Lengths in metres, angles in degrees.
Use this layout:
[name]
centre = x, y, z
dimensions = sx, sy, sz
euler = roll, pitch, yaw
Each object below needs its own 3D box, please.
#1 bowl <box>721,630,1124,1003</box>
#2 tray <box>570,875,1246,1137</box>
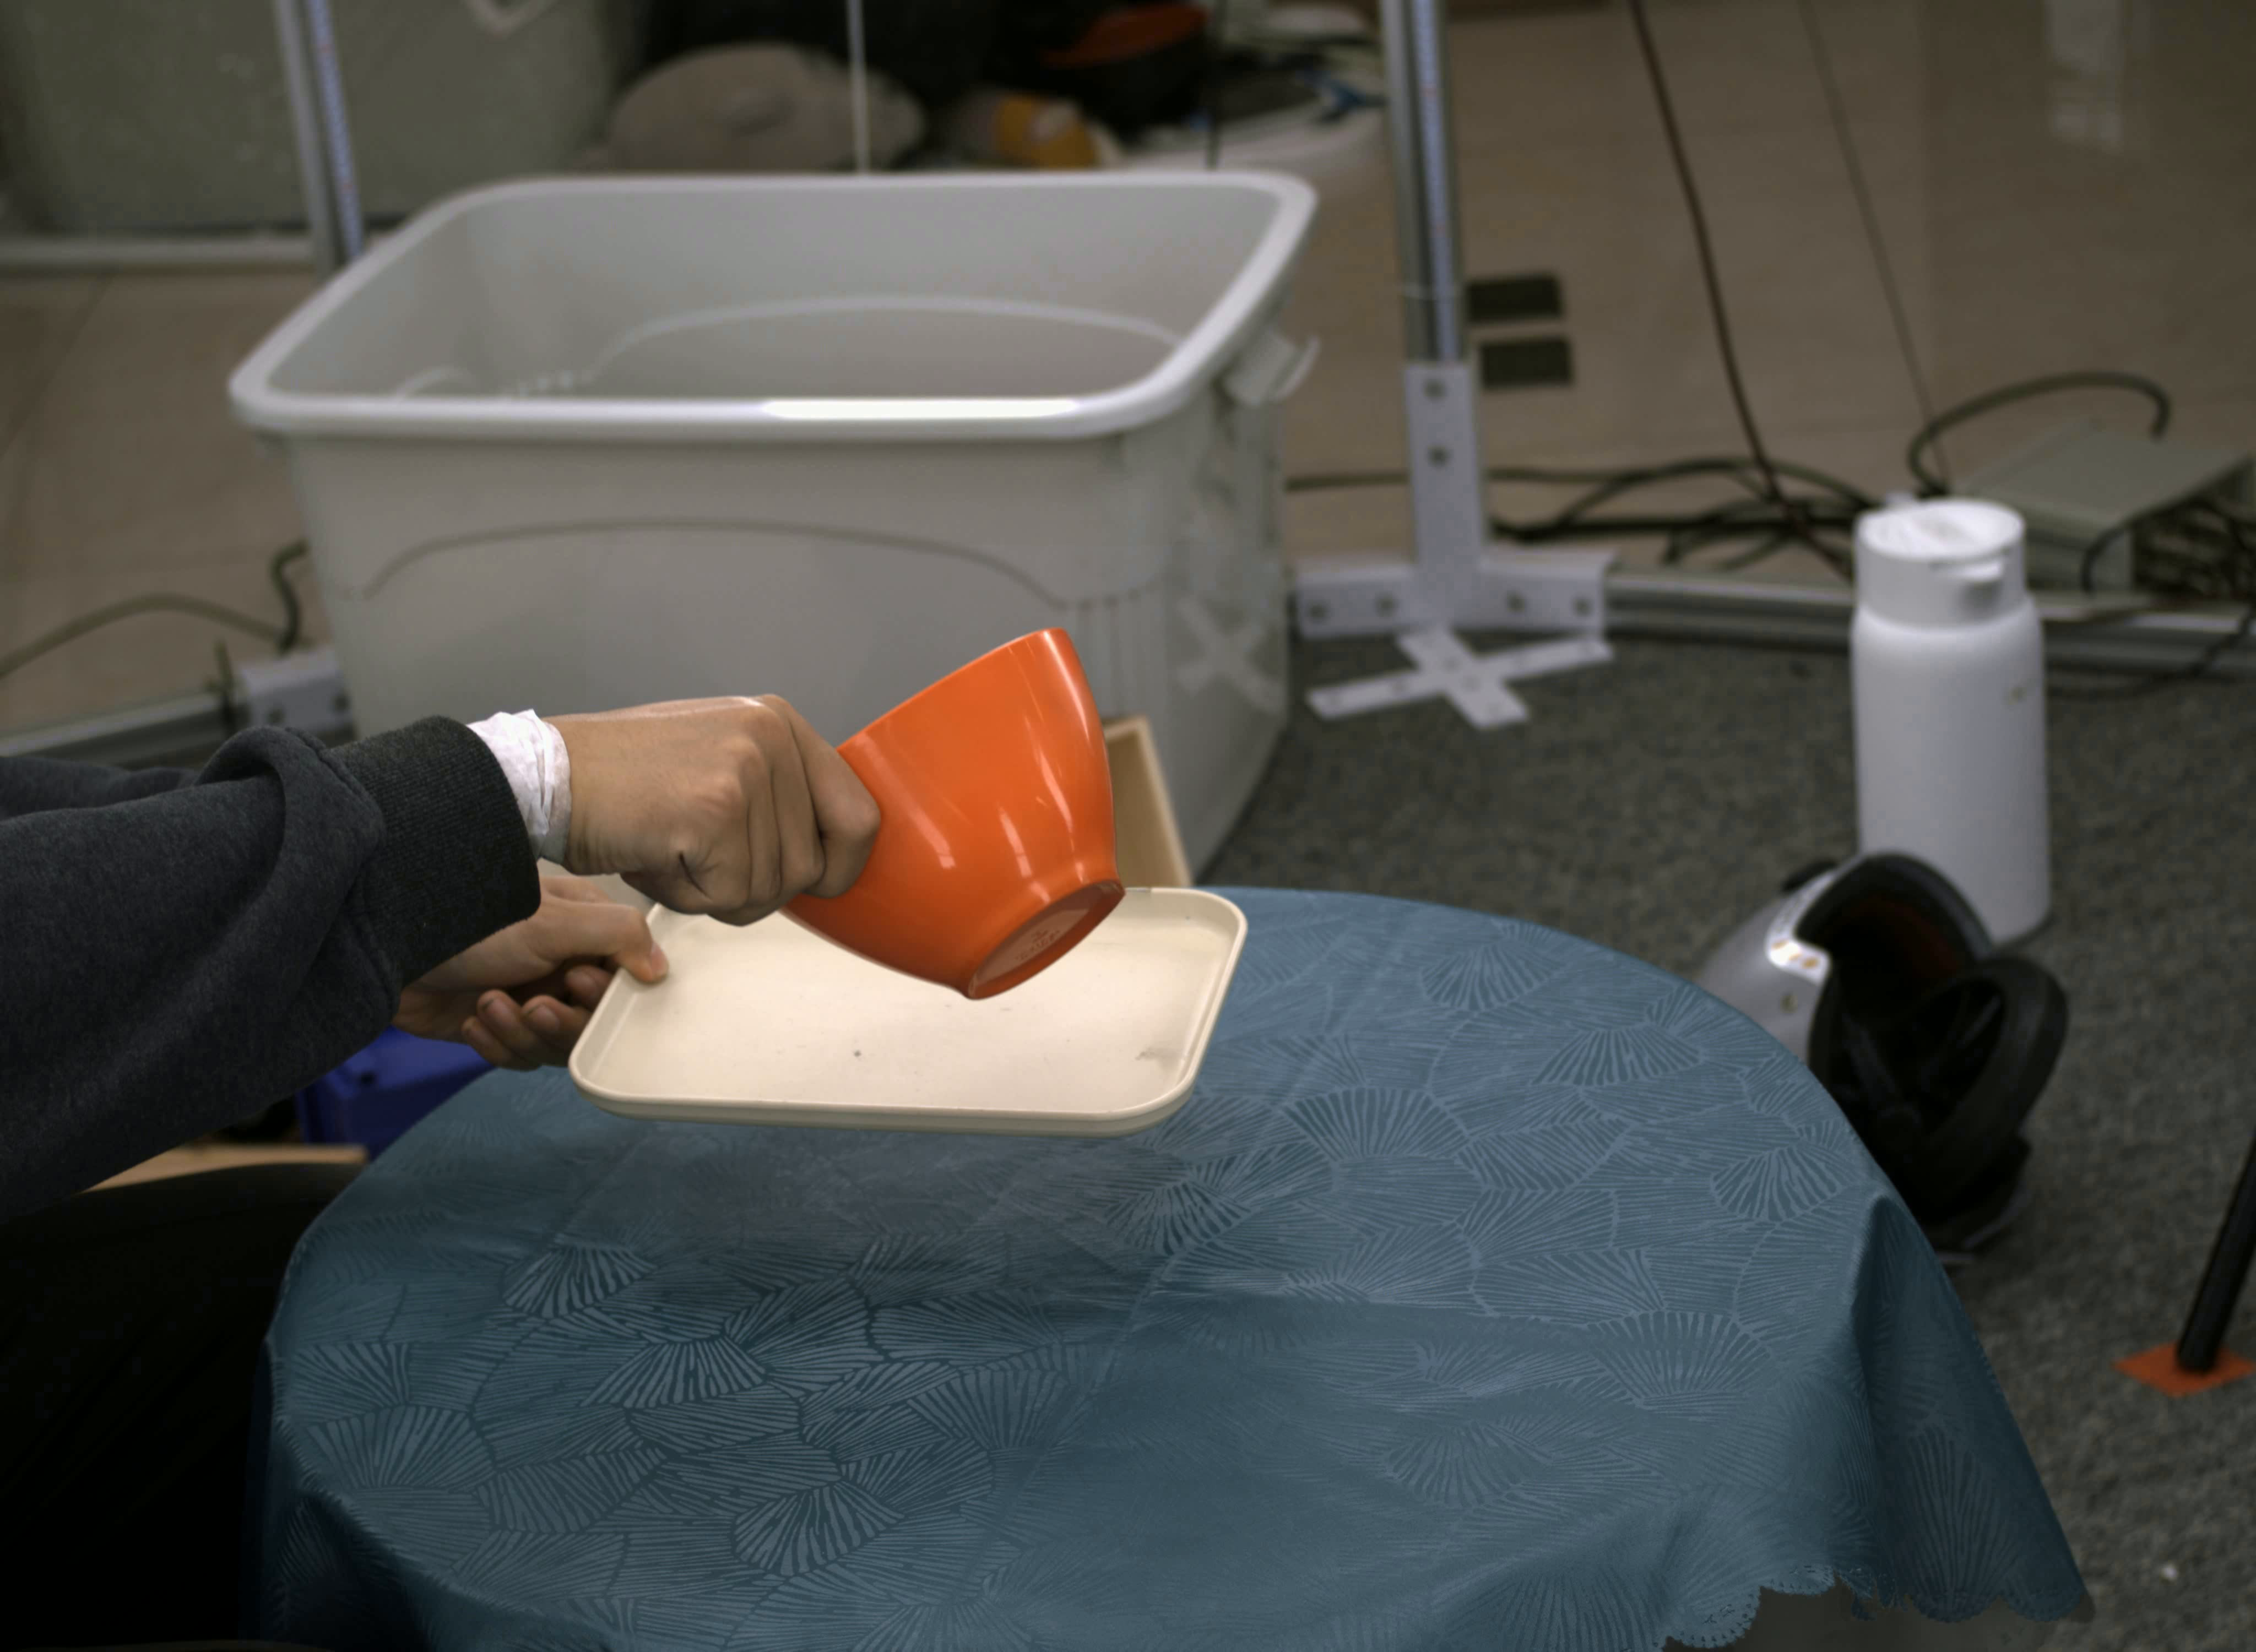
[bowl]
centre = -0.057, 0.005, 1.966
dimensions = 0.147, 0.150, 0.104
euler = -24, 71, -34
[tray]
centre = -0.081, 0.068, 2.144
dimensions = 0.239, 0.018, 0.168
euler = 2, 30, 12
